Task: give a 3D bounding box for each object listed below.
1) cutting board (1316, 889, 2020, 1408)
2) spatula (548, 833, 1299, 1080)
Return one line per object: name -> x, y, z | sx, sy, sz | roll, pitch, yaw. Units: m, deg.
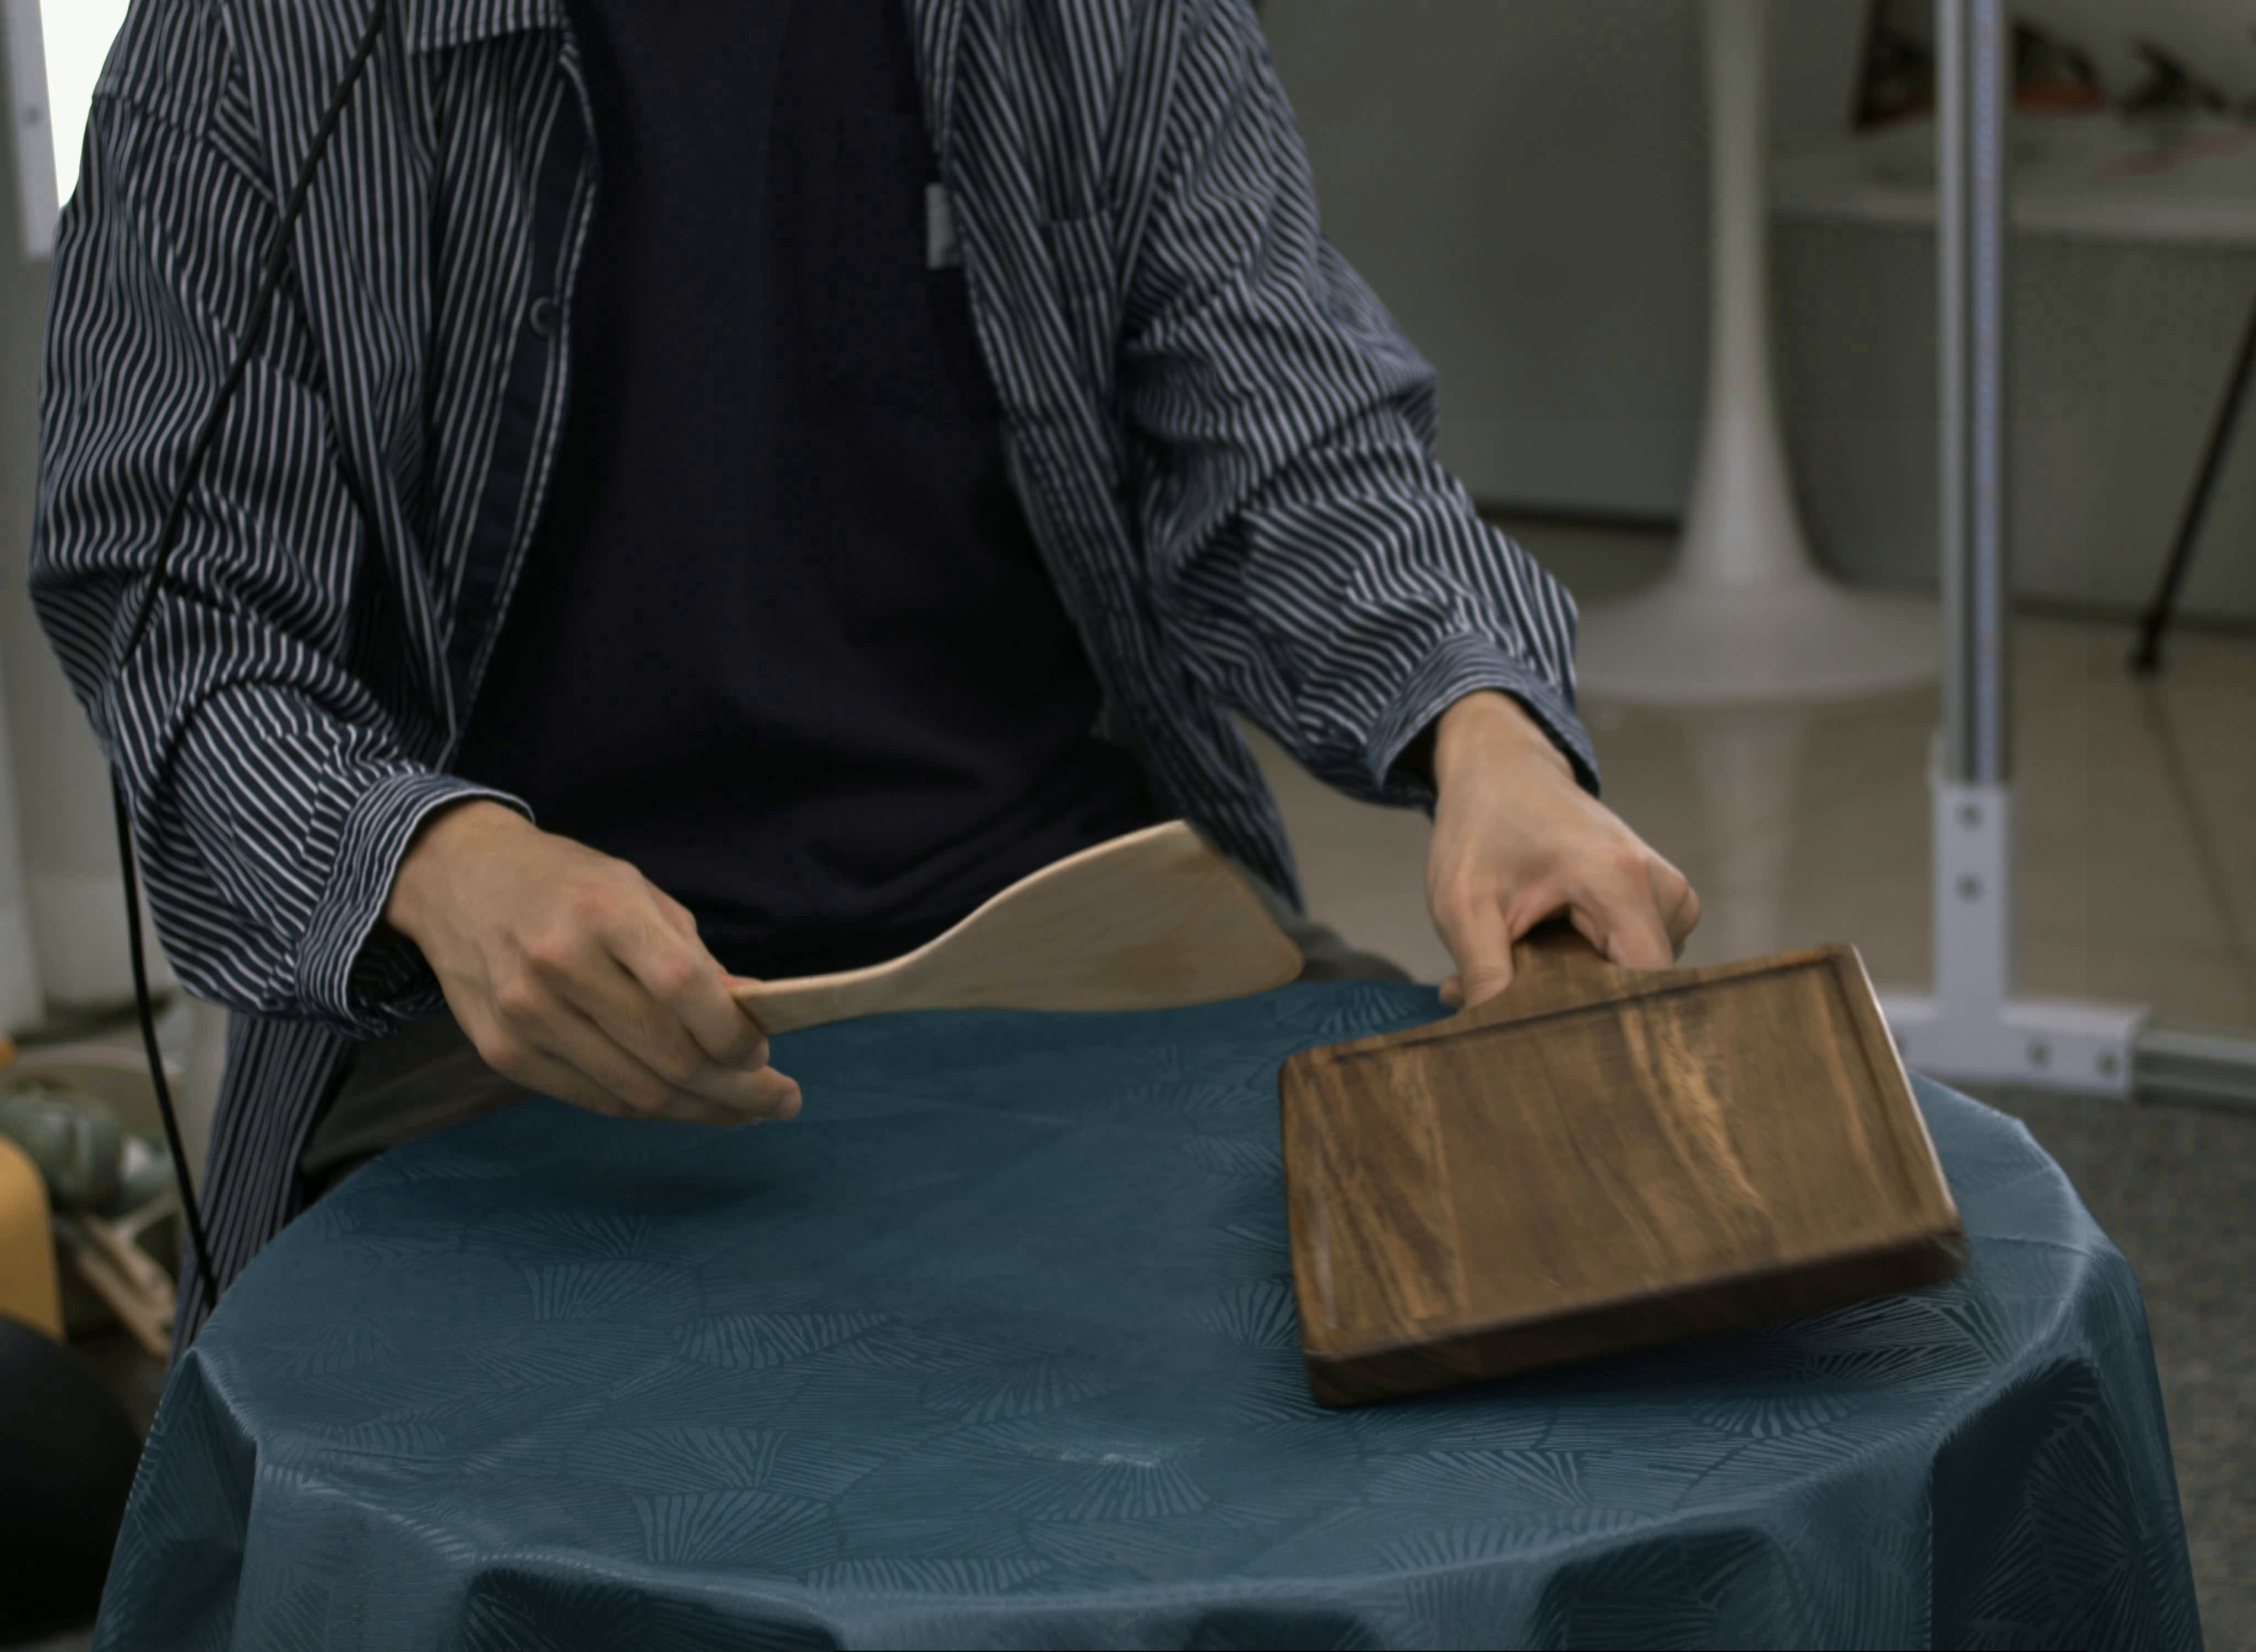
cutting board -> 0.159, 0.087, 1.704 | 0.199, 0.023, 0.352 | -12, 18, 5
spatula -> -0.076, 0.051, 1.700 | 0.330, 0.079, 0.016 | -12, 48, 46
